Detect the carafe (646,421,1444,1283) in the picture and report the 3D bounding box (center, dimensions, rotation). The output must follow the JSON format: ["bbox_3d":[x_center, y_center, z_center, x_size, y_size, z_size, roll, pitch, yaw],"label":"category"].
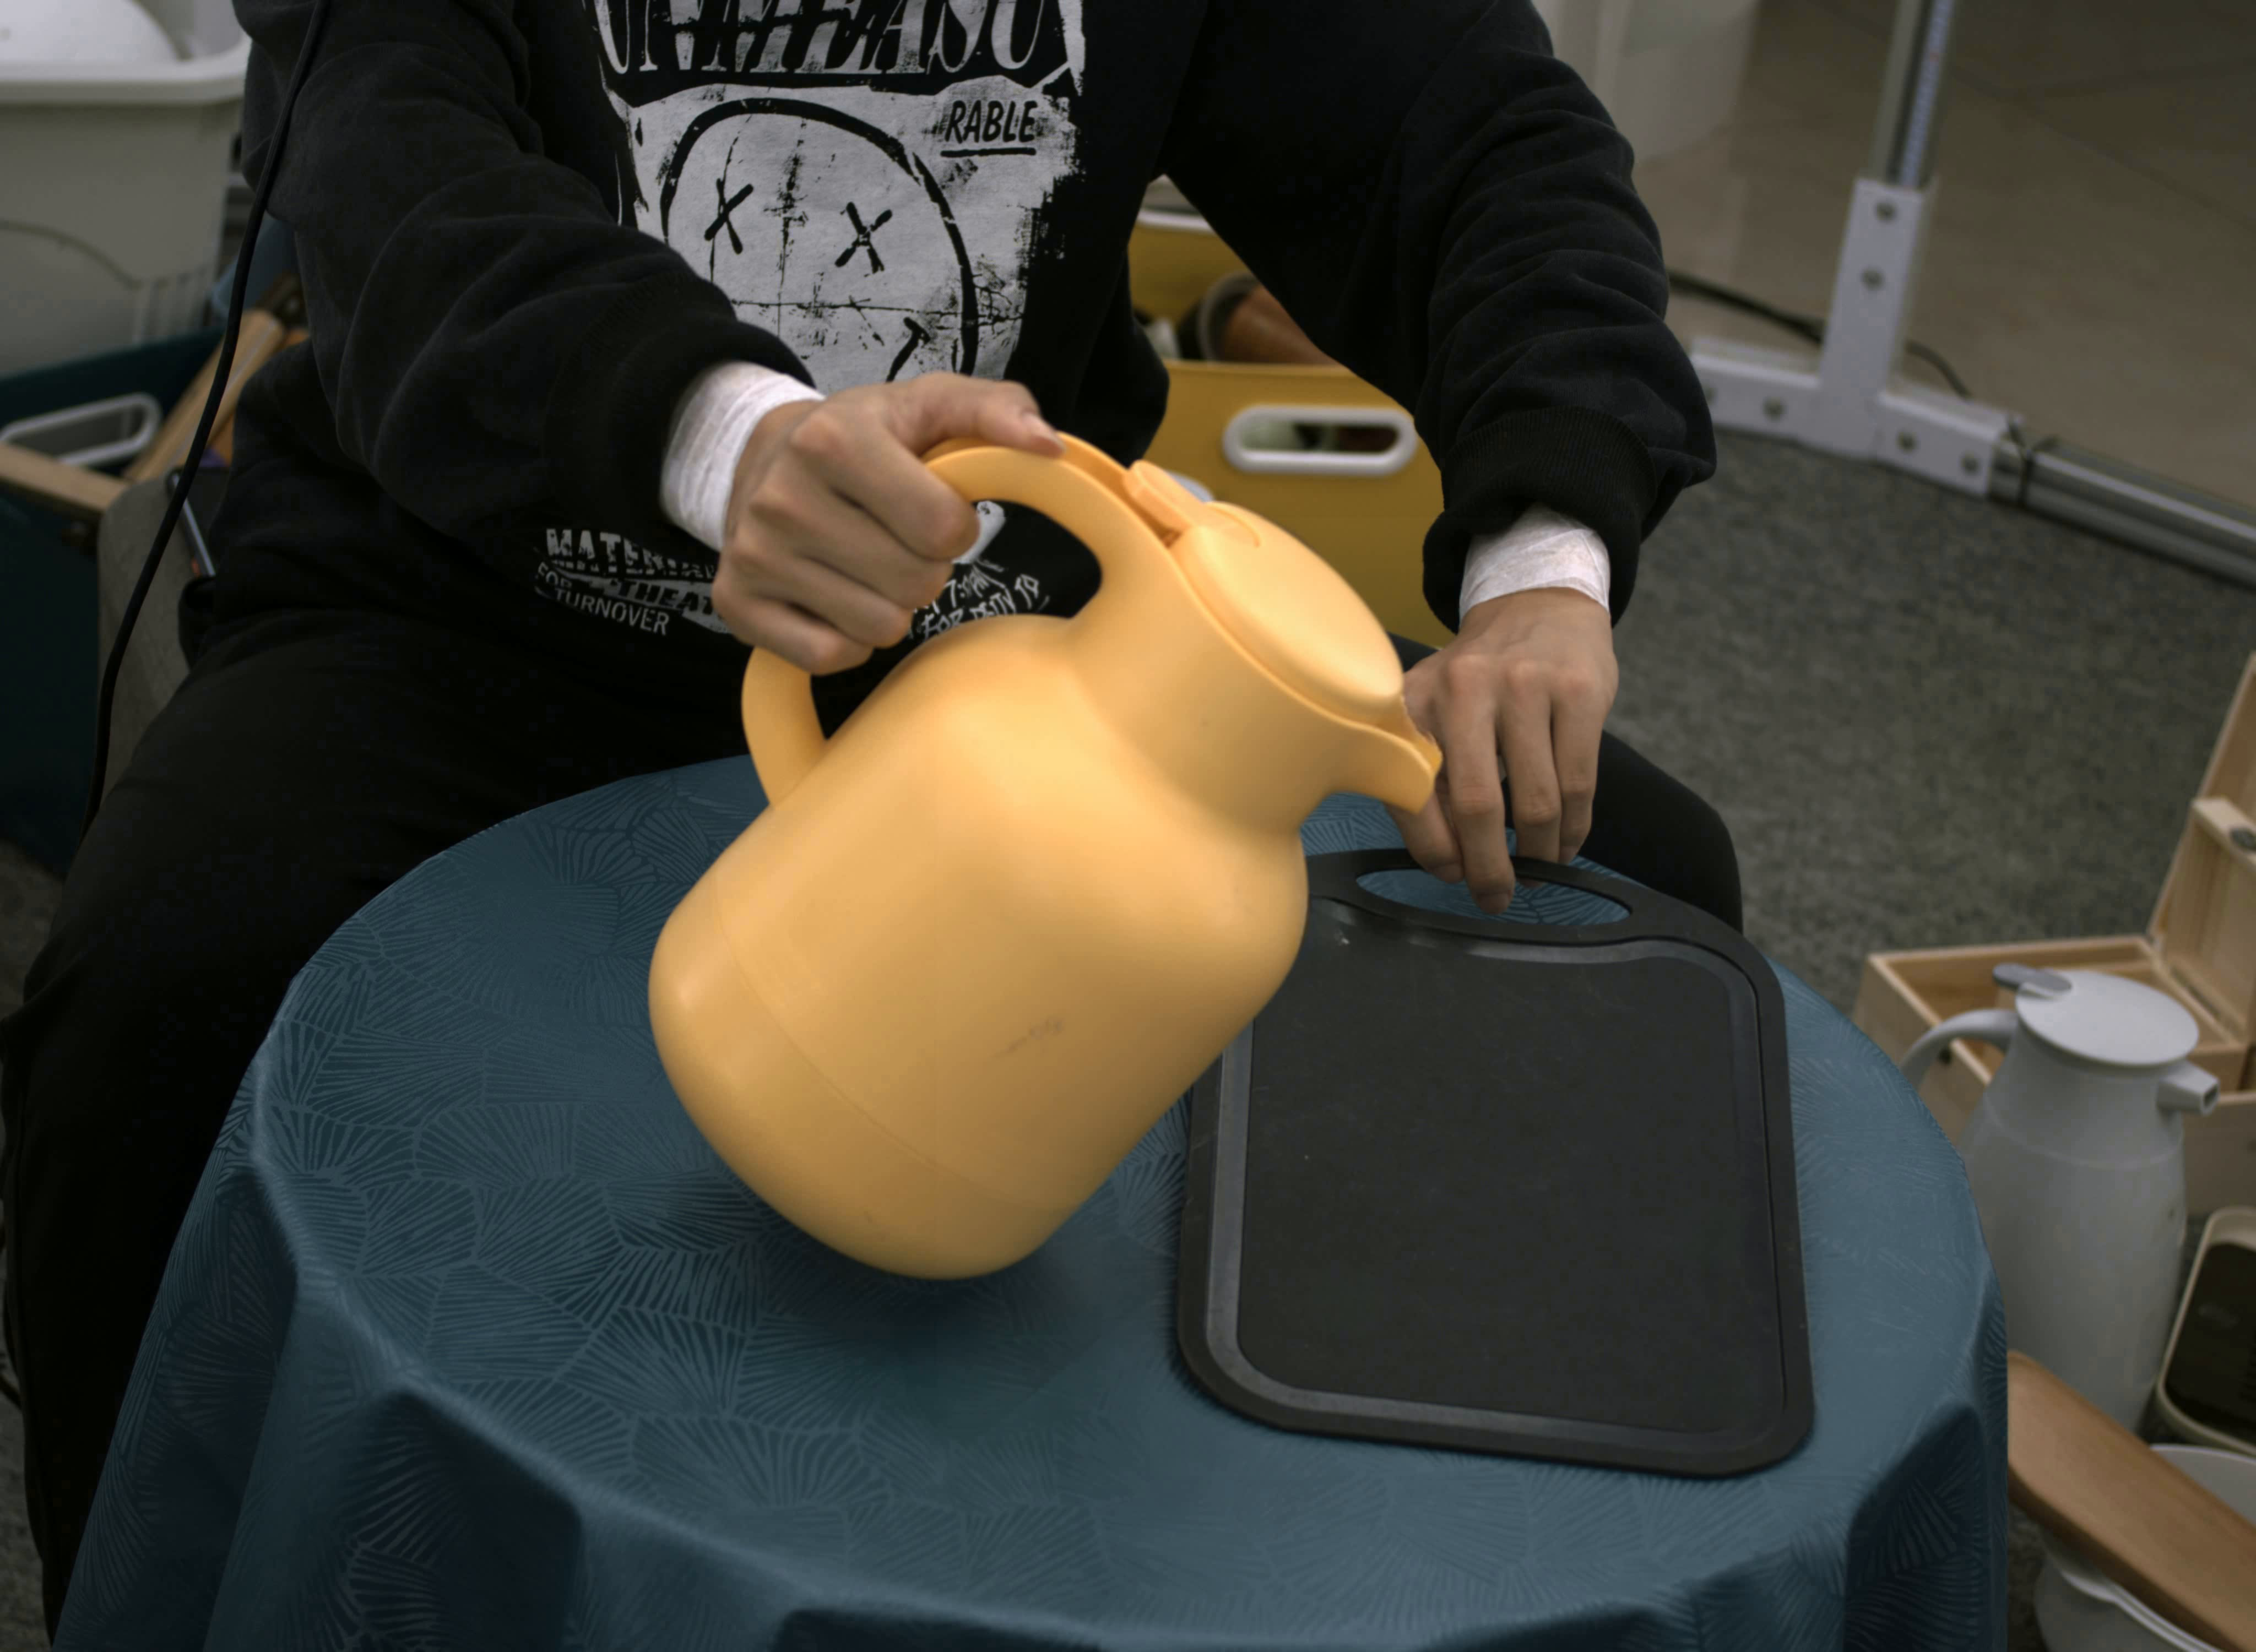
[{"bbox_3d":[-0.039,0.000,1.698,0.202,0.260,0.164,42,19,-4],"label":"carafe"}]

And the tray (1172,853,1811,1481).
[{"bbox_3d":[0.124,0.105,1.813,0.210,0.010,0.327,7,35,0],"label":"tray"}]
